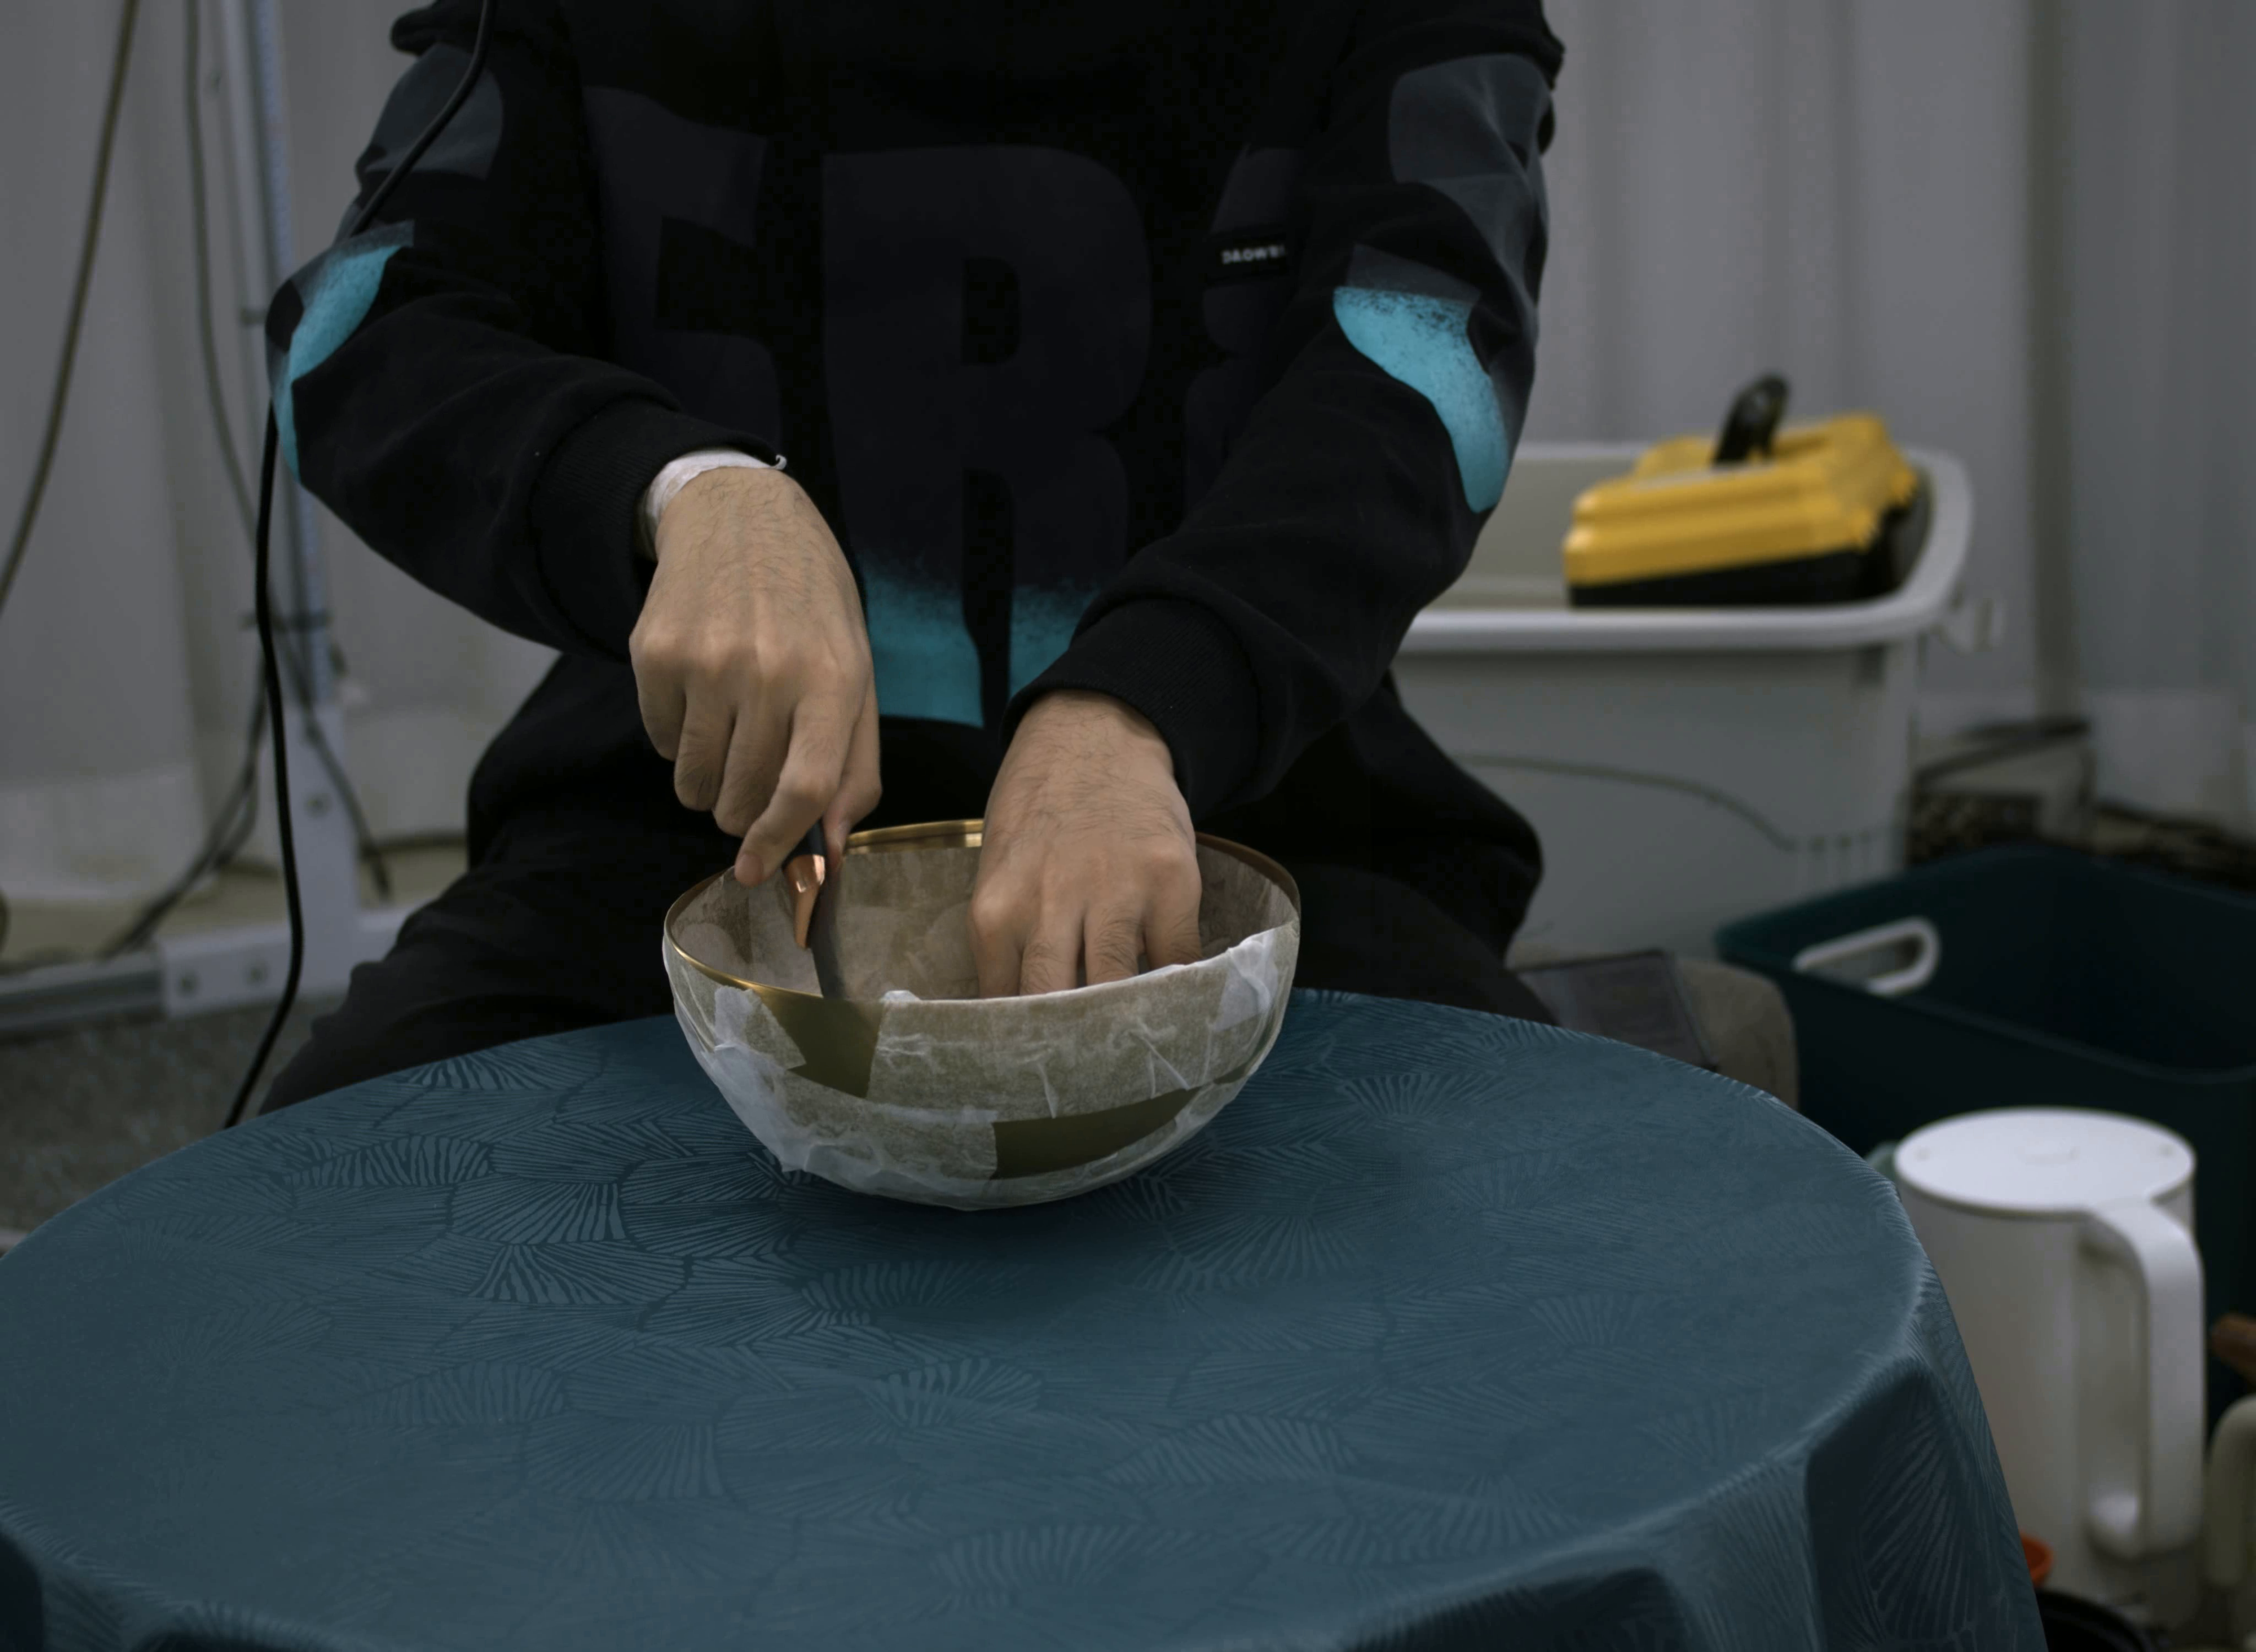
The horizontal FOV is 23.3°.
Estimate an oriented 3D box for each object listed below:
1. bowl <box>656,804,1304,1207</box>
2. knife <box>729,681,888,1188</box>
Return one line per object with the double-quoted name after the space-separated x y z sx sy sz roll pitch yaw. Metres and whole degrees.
-0.043 0.064 1.727 0.214 0.094 0.216 -4 16 1 "bowl"
-0.100 0.031 1.740 0.017 0.026 0.229 -3 41 -15 "knife"
